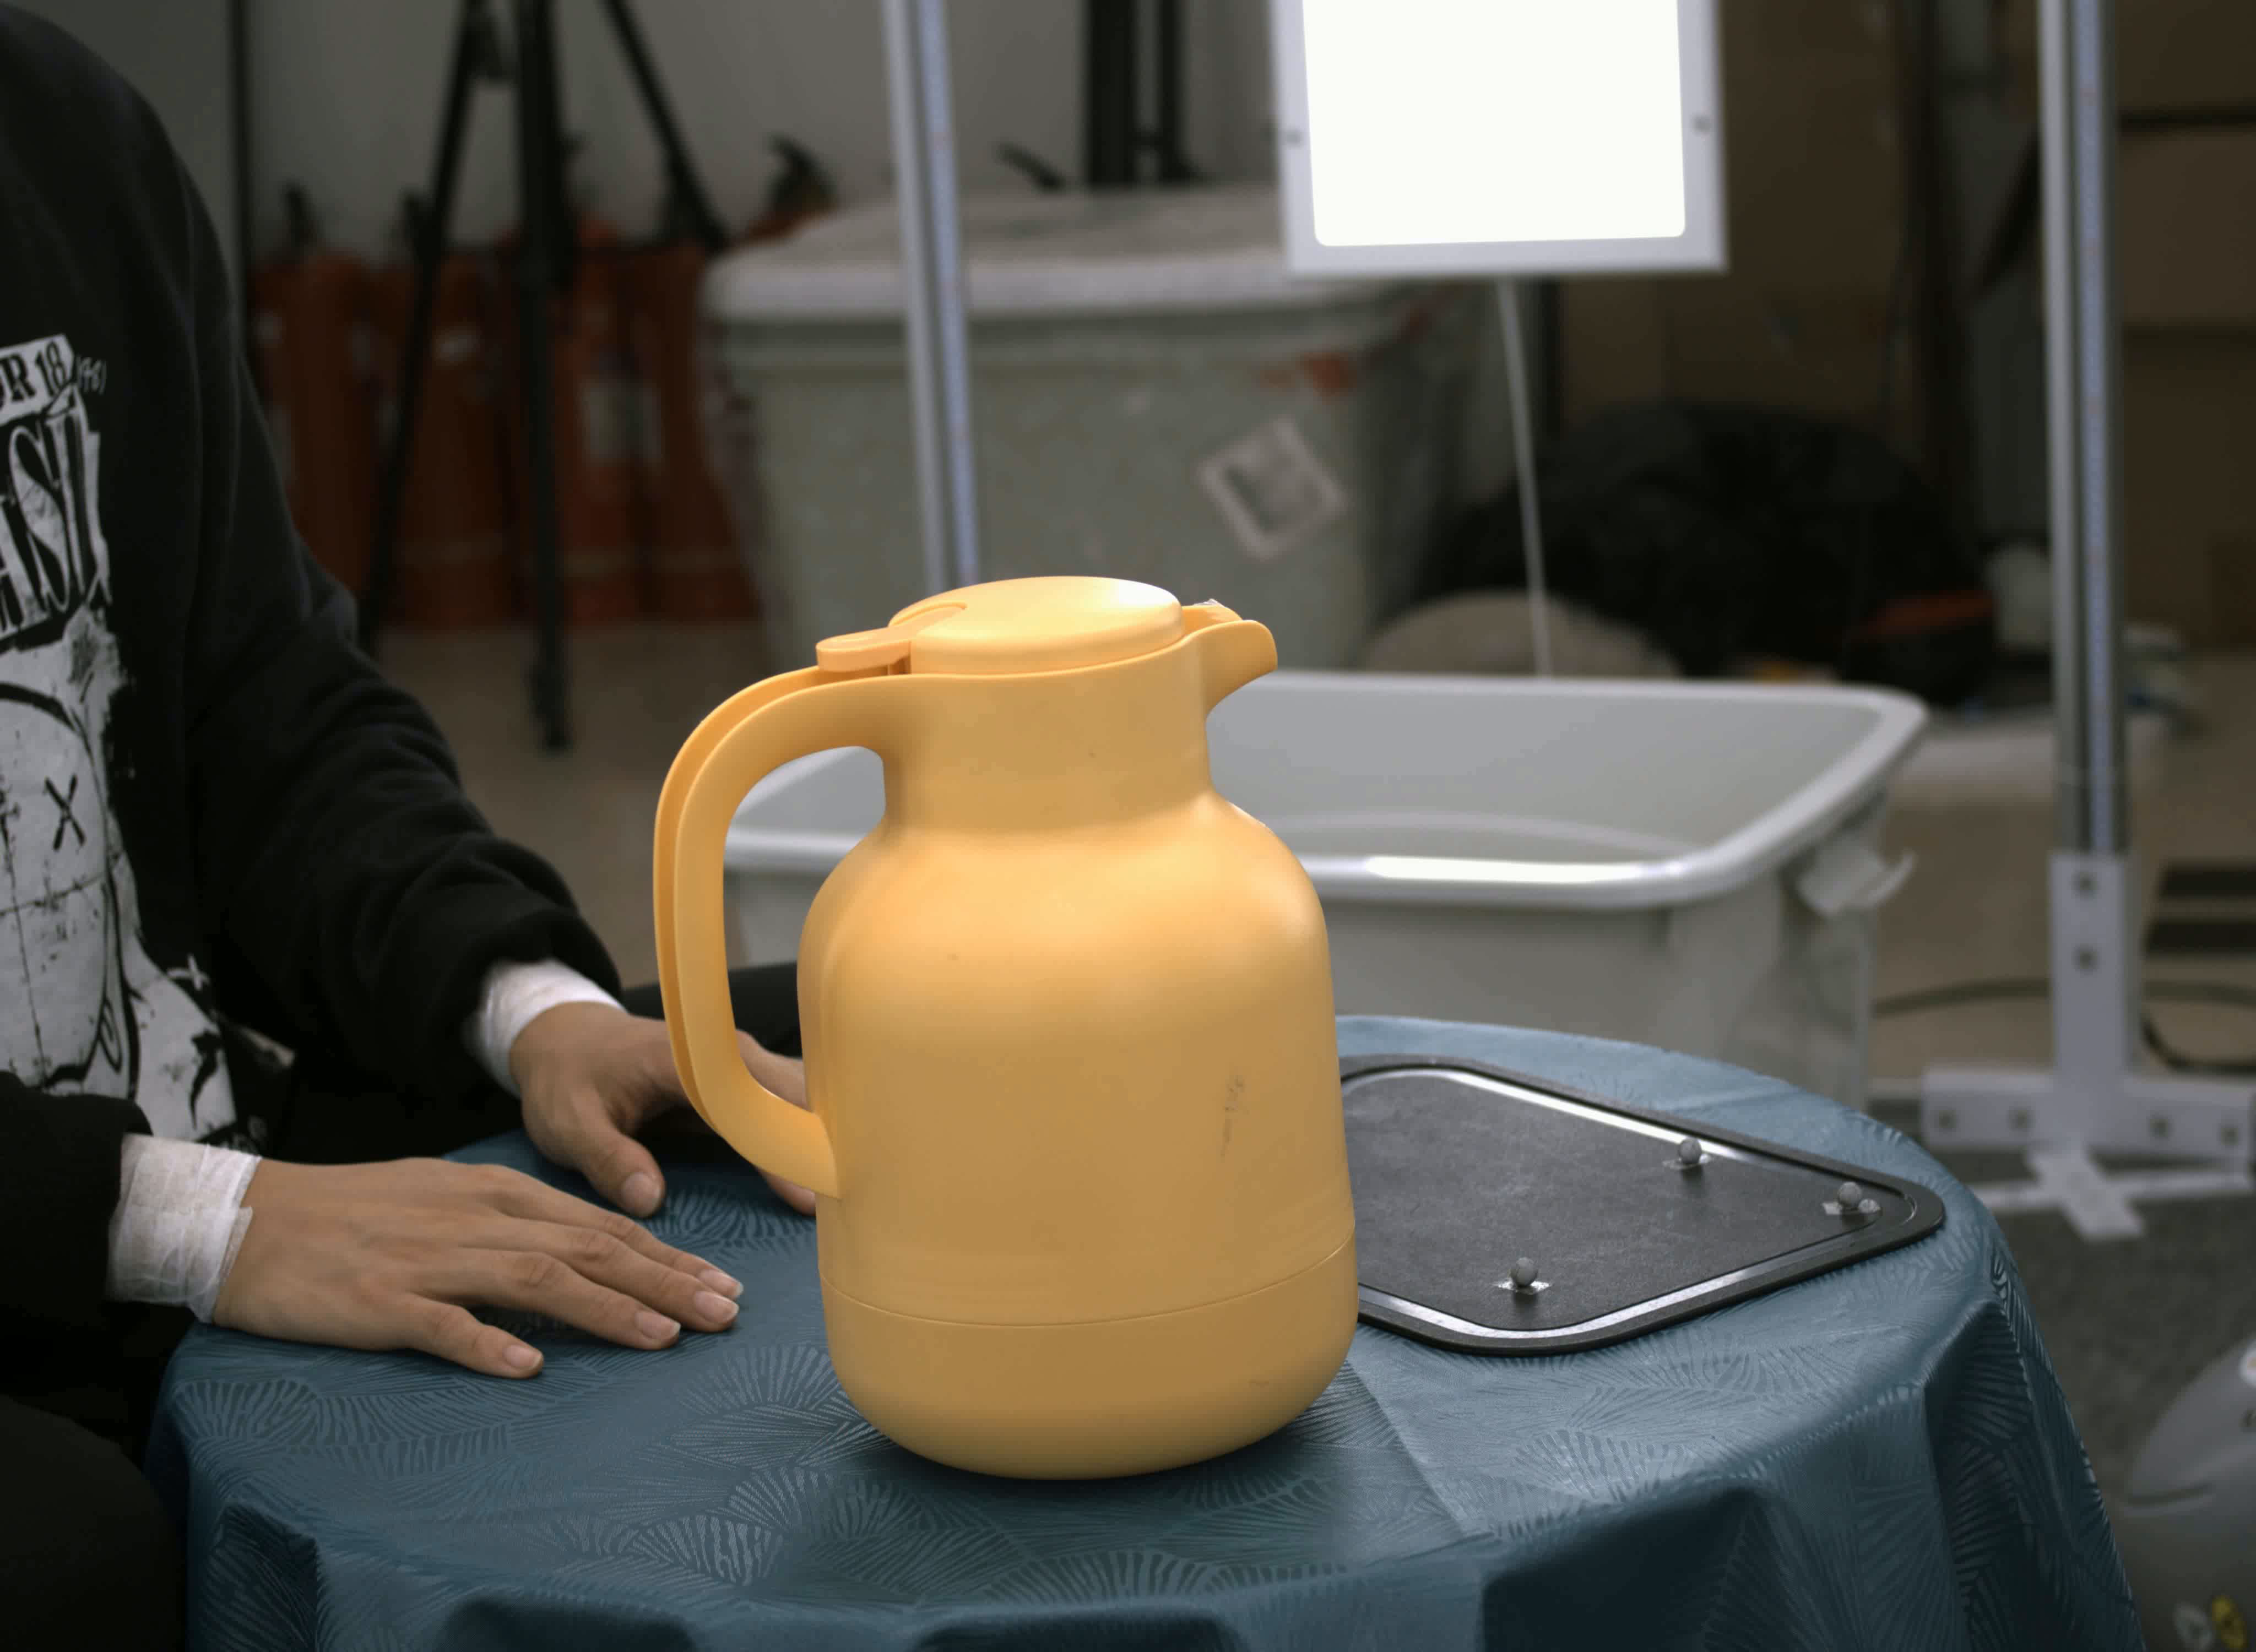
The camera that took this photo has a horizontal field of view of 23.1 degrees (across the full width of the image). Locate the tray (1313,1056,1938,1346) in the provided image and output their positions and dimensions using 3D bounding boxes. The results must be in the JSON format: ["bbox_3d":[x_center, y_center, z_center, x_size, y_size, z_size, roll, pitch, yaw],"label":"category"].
[{"bbox_3d":[0.106,0.121,1.868,0.206,0.010,0.332,-14,16,-33],"label":"tray"}]

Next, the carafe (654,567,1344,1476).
[{"bbox_3d":[-0.039,0.056,1.646,0.199,0.261,0.165,-6,11,-14],"label":"carafe"}]
